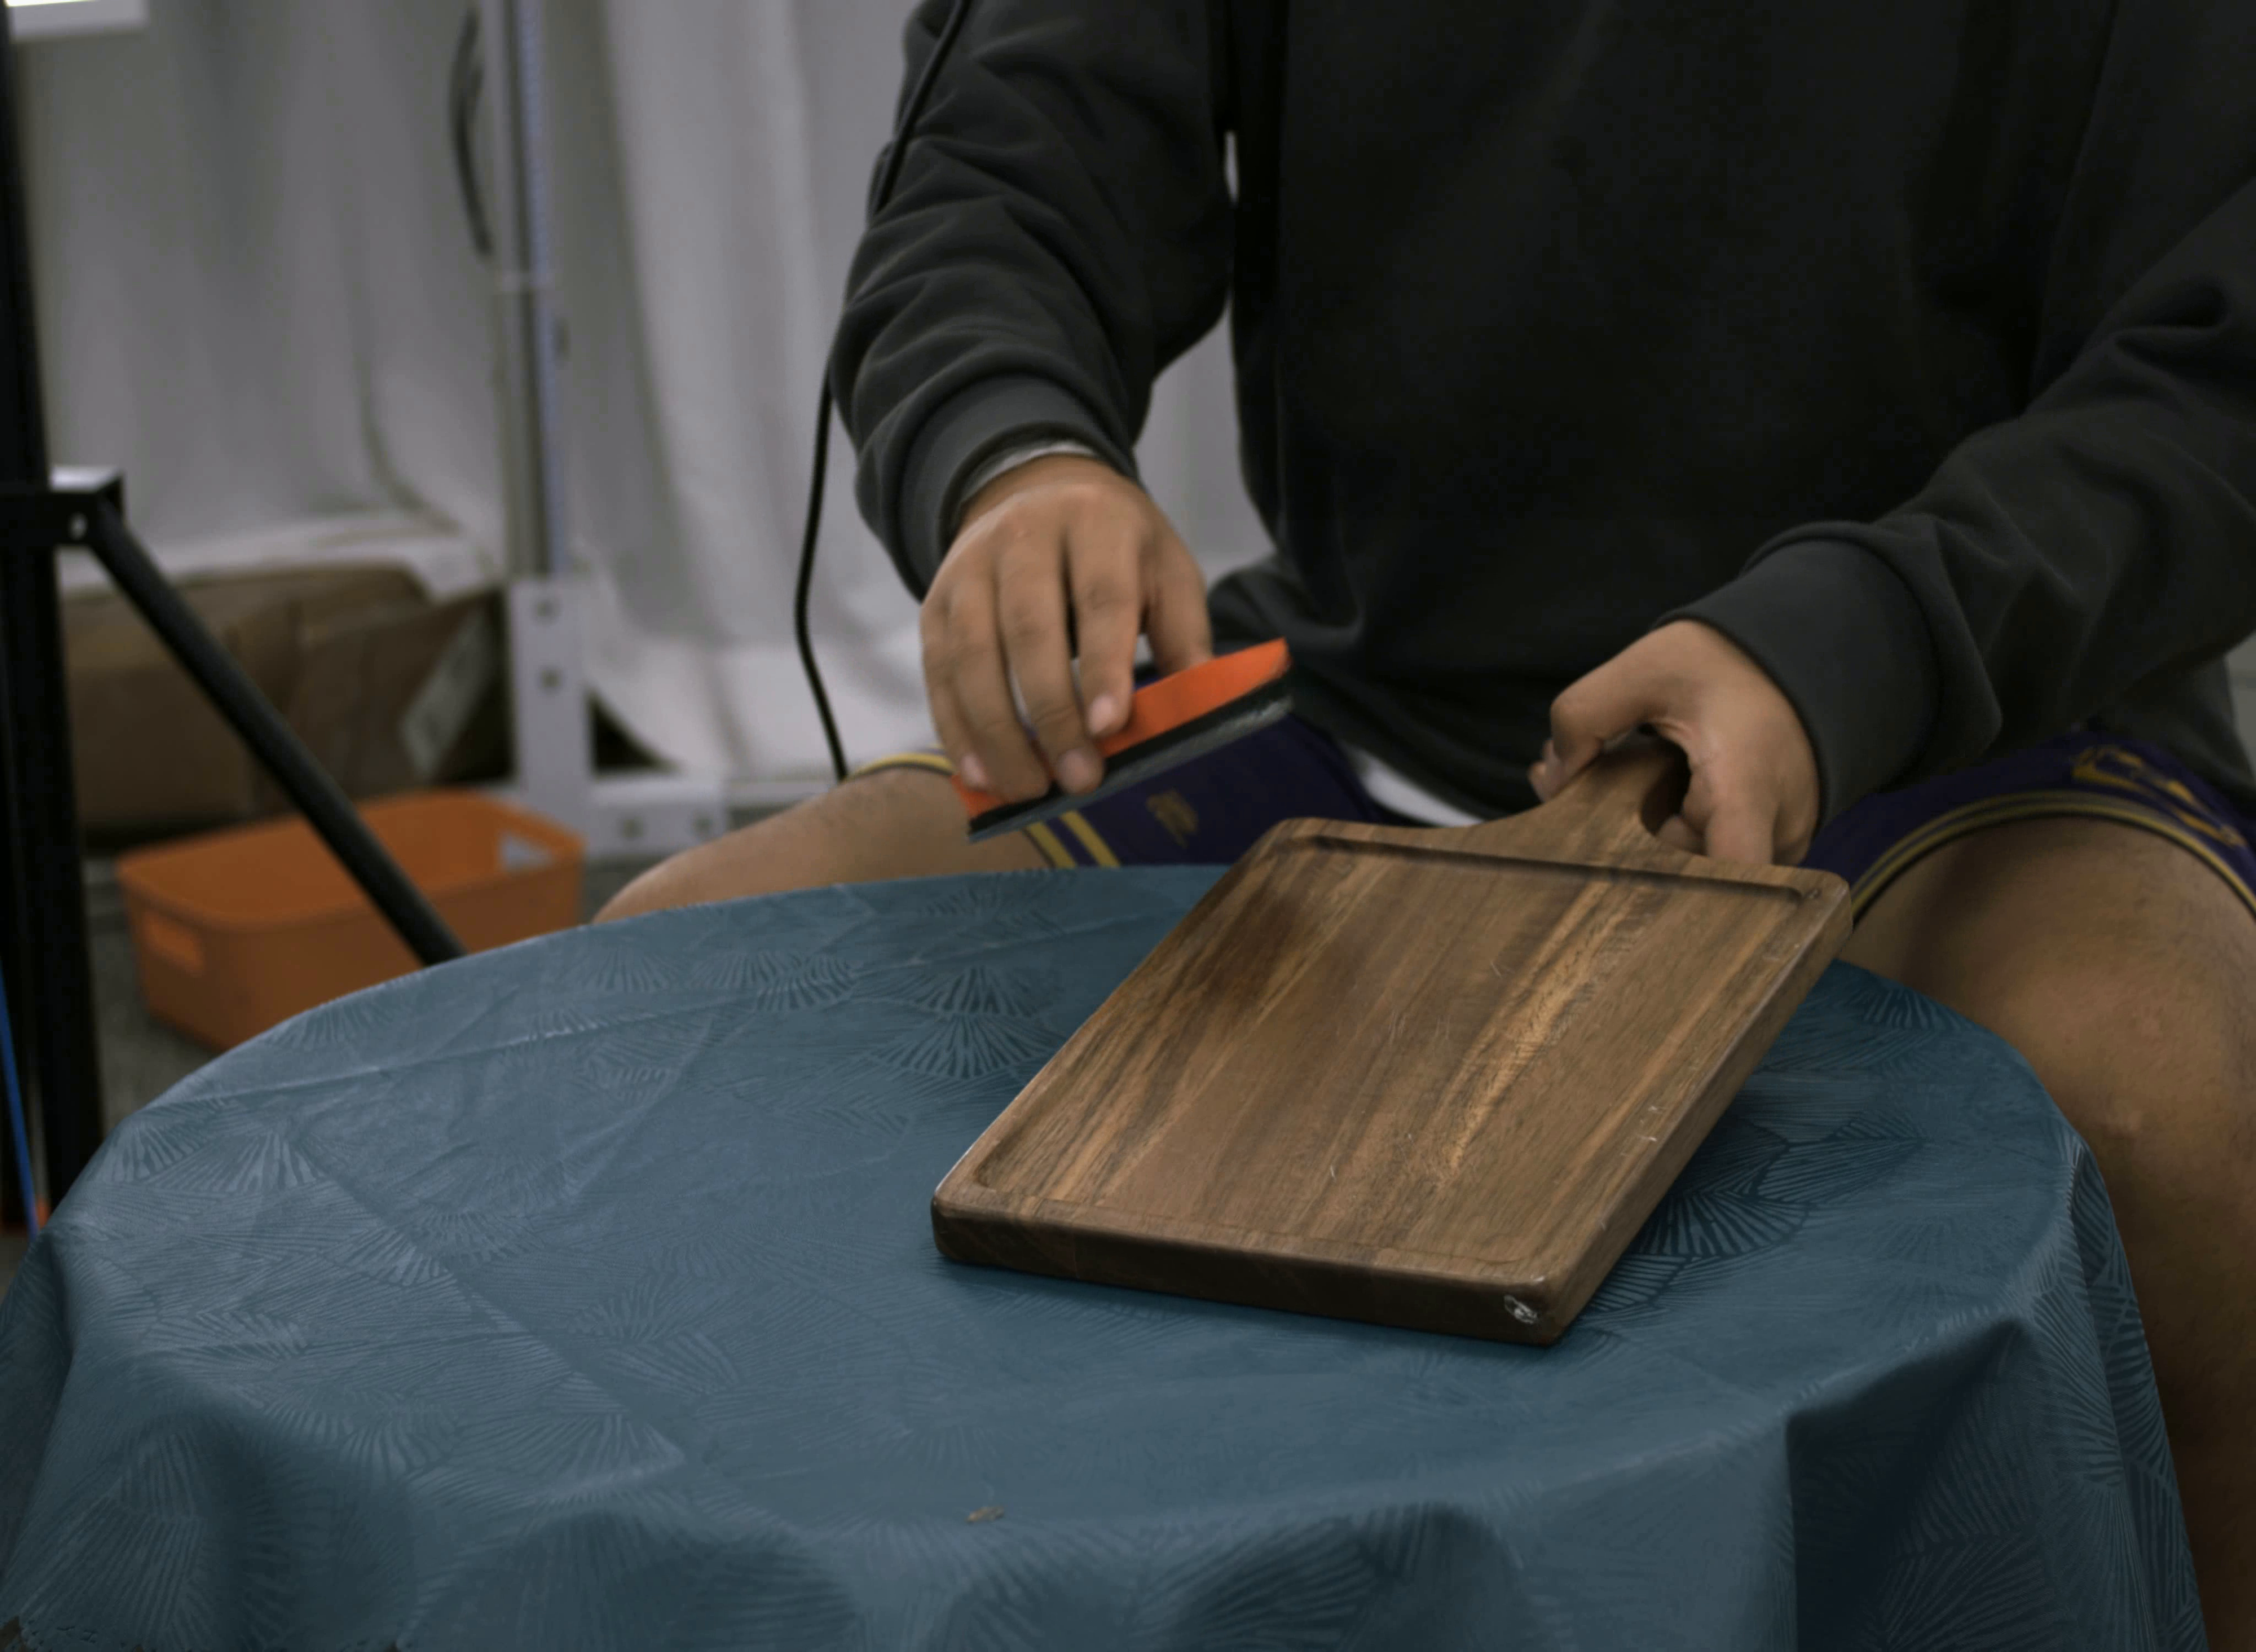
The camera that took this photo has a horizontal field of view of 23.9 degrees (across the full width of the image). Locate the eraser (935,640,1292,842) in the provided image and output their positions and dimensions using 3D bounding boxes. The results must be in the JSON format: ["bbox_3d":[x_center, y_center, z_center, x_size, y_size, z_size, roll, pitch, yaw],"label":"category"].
[{"bbox_3d":[-0.005,-0.026,1.662,0.109,0.023,0.058,-24,-4,35],"label":"eraser"}]

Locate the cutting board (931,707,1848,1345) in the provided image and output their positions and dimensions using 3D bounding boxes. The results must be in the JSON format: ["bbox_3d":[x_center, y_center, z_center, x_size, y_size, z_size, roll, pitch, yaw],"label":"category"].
[{"bbox_3d":[0.102,0.048,1.597,0.204,0.023,0.348,5,29,27],"label":"cutting board"}]
